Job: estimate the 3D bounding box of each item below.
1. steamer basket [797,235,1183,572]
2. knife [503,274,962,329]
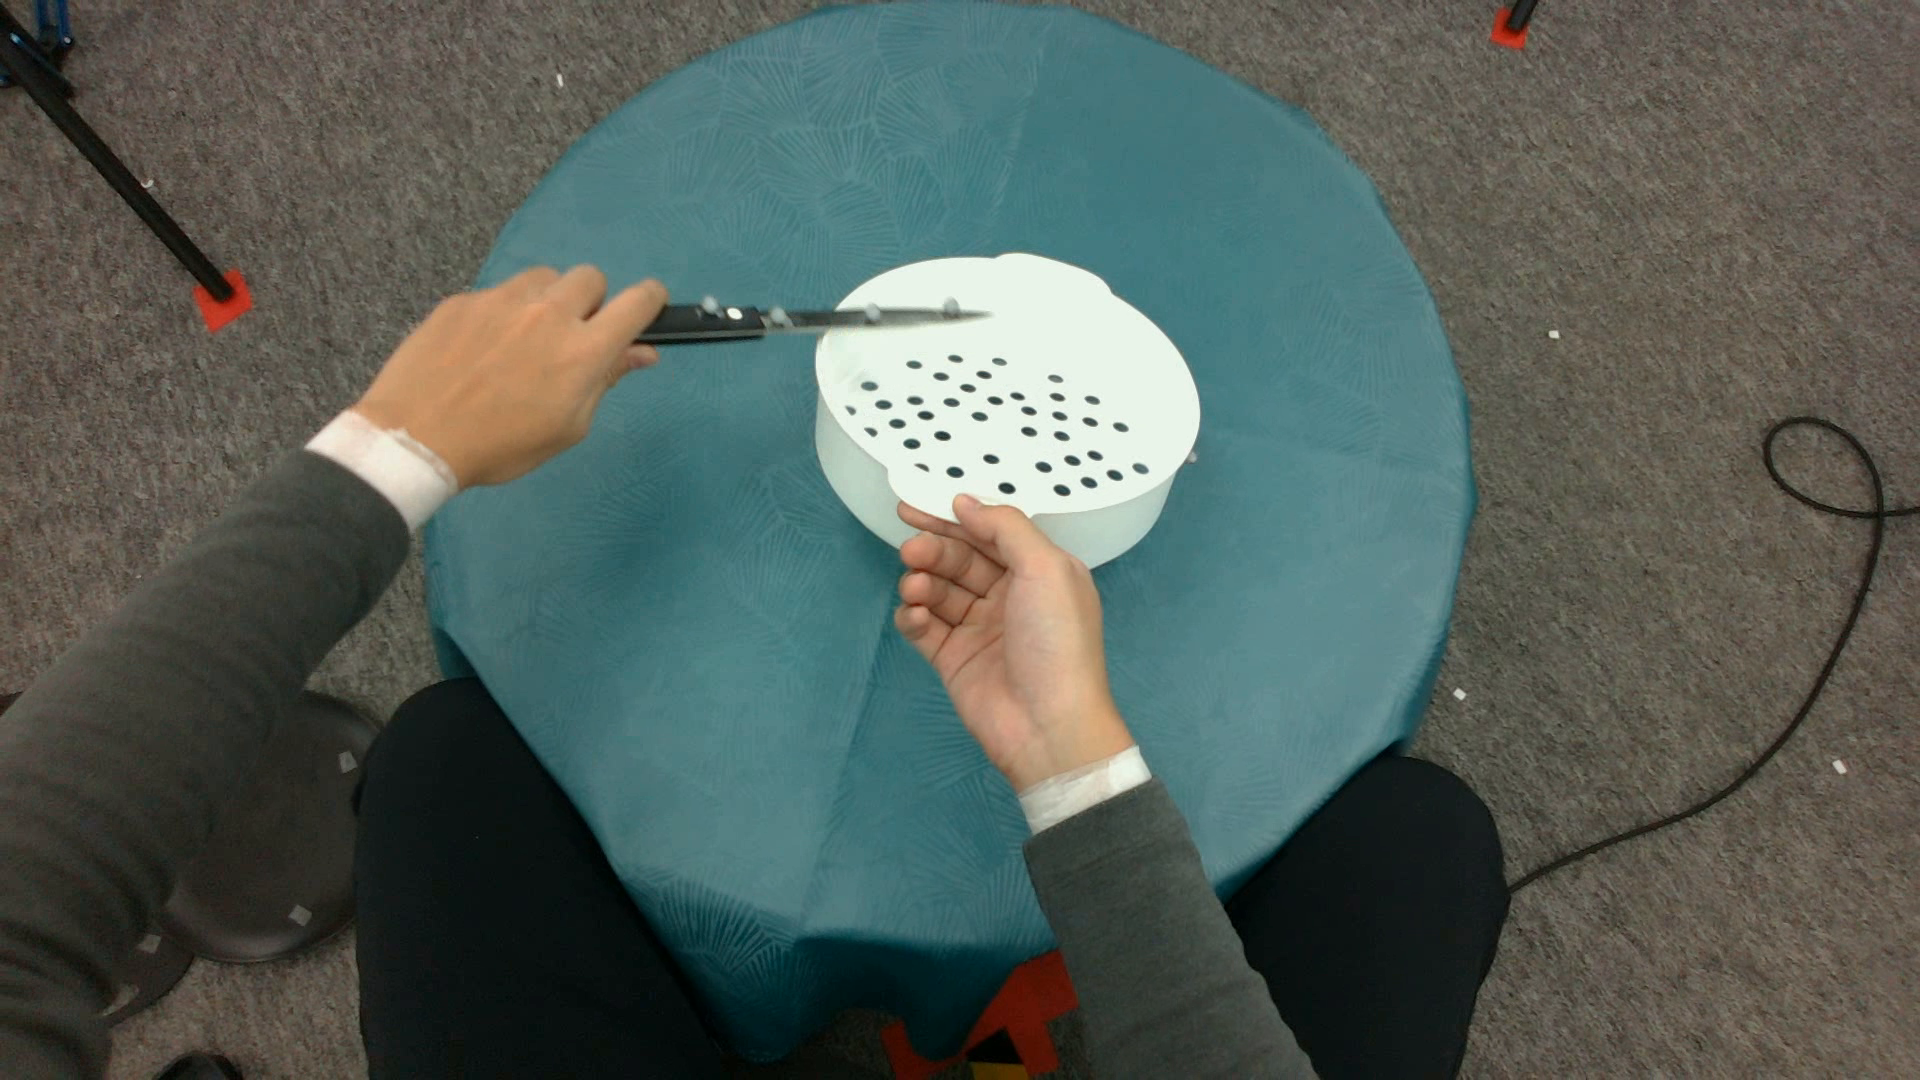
[{"bbox_3d":[0.014,-0.072,0.736,0.202,0.069,0.232,16,48,5],"label":"steamer basket"},{"bbox_3d":[-0.108,-0.125,0.704,0.239,0.016,0.024,-8,43,-21],"label":"knife"}]
